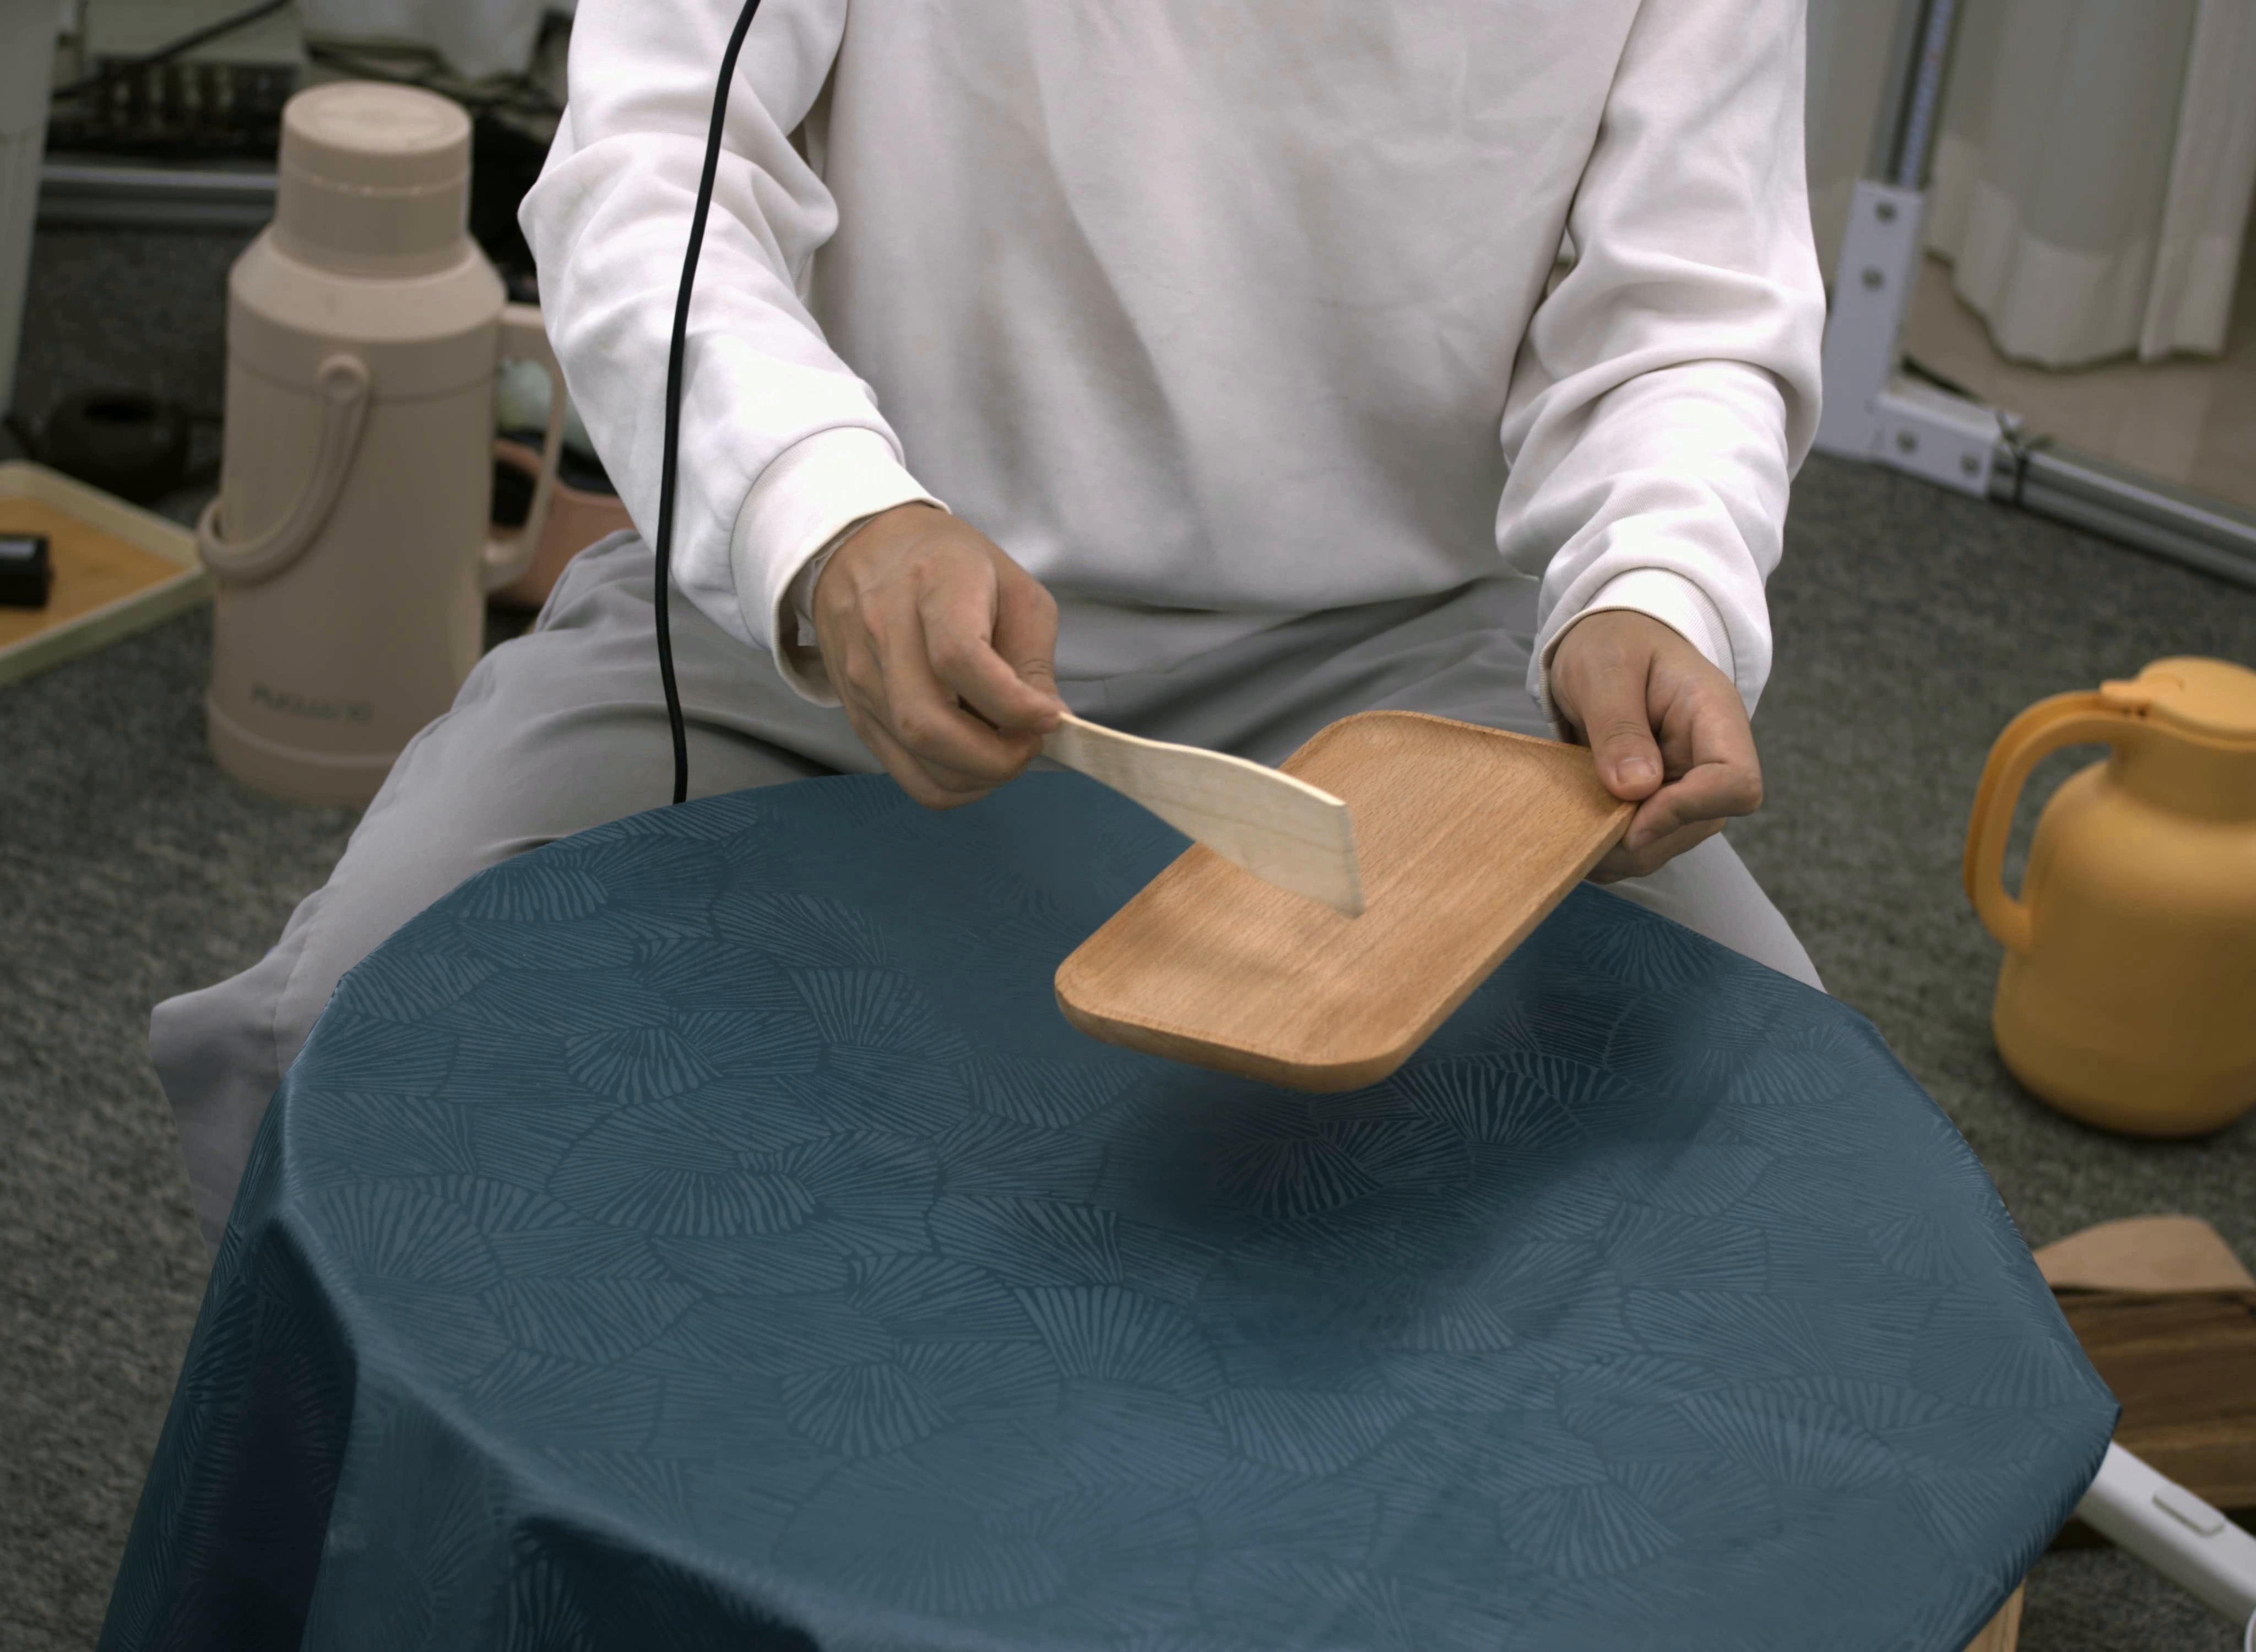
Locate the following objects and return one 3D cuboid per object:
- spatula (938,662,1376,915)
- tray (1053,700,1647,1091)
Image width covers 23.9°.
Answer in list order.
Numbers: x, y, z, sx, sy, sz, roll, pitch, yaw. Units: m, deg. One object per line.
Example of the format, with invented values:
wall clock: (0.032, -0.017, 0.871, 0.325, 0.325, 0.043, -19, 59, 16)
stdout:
spatula: (0.006, -0.019, 1.822, 0.005, 0.050, 0.209, -34, 39, -32)
tray: (0.080, 0.021, 1.835, 0.131, 0.023, 0.250, 16, 31, 24)
